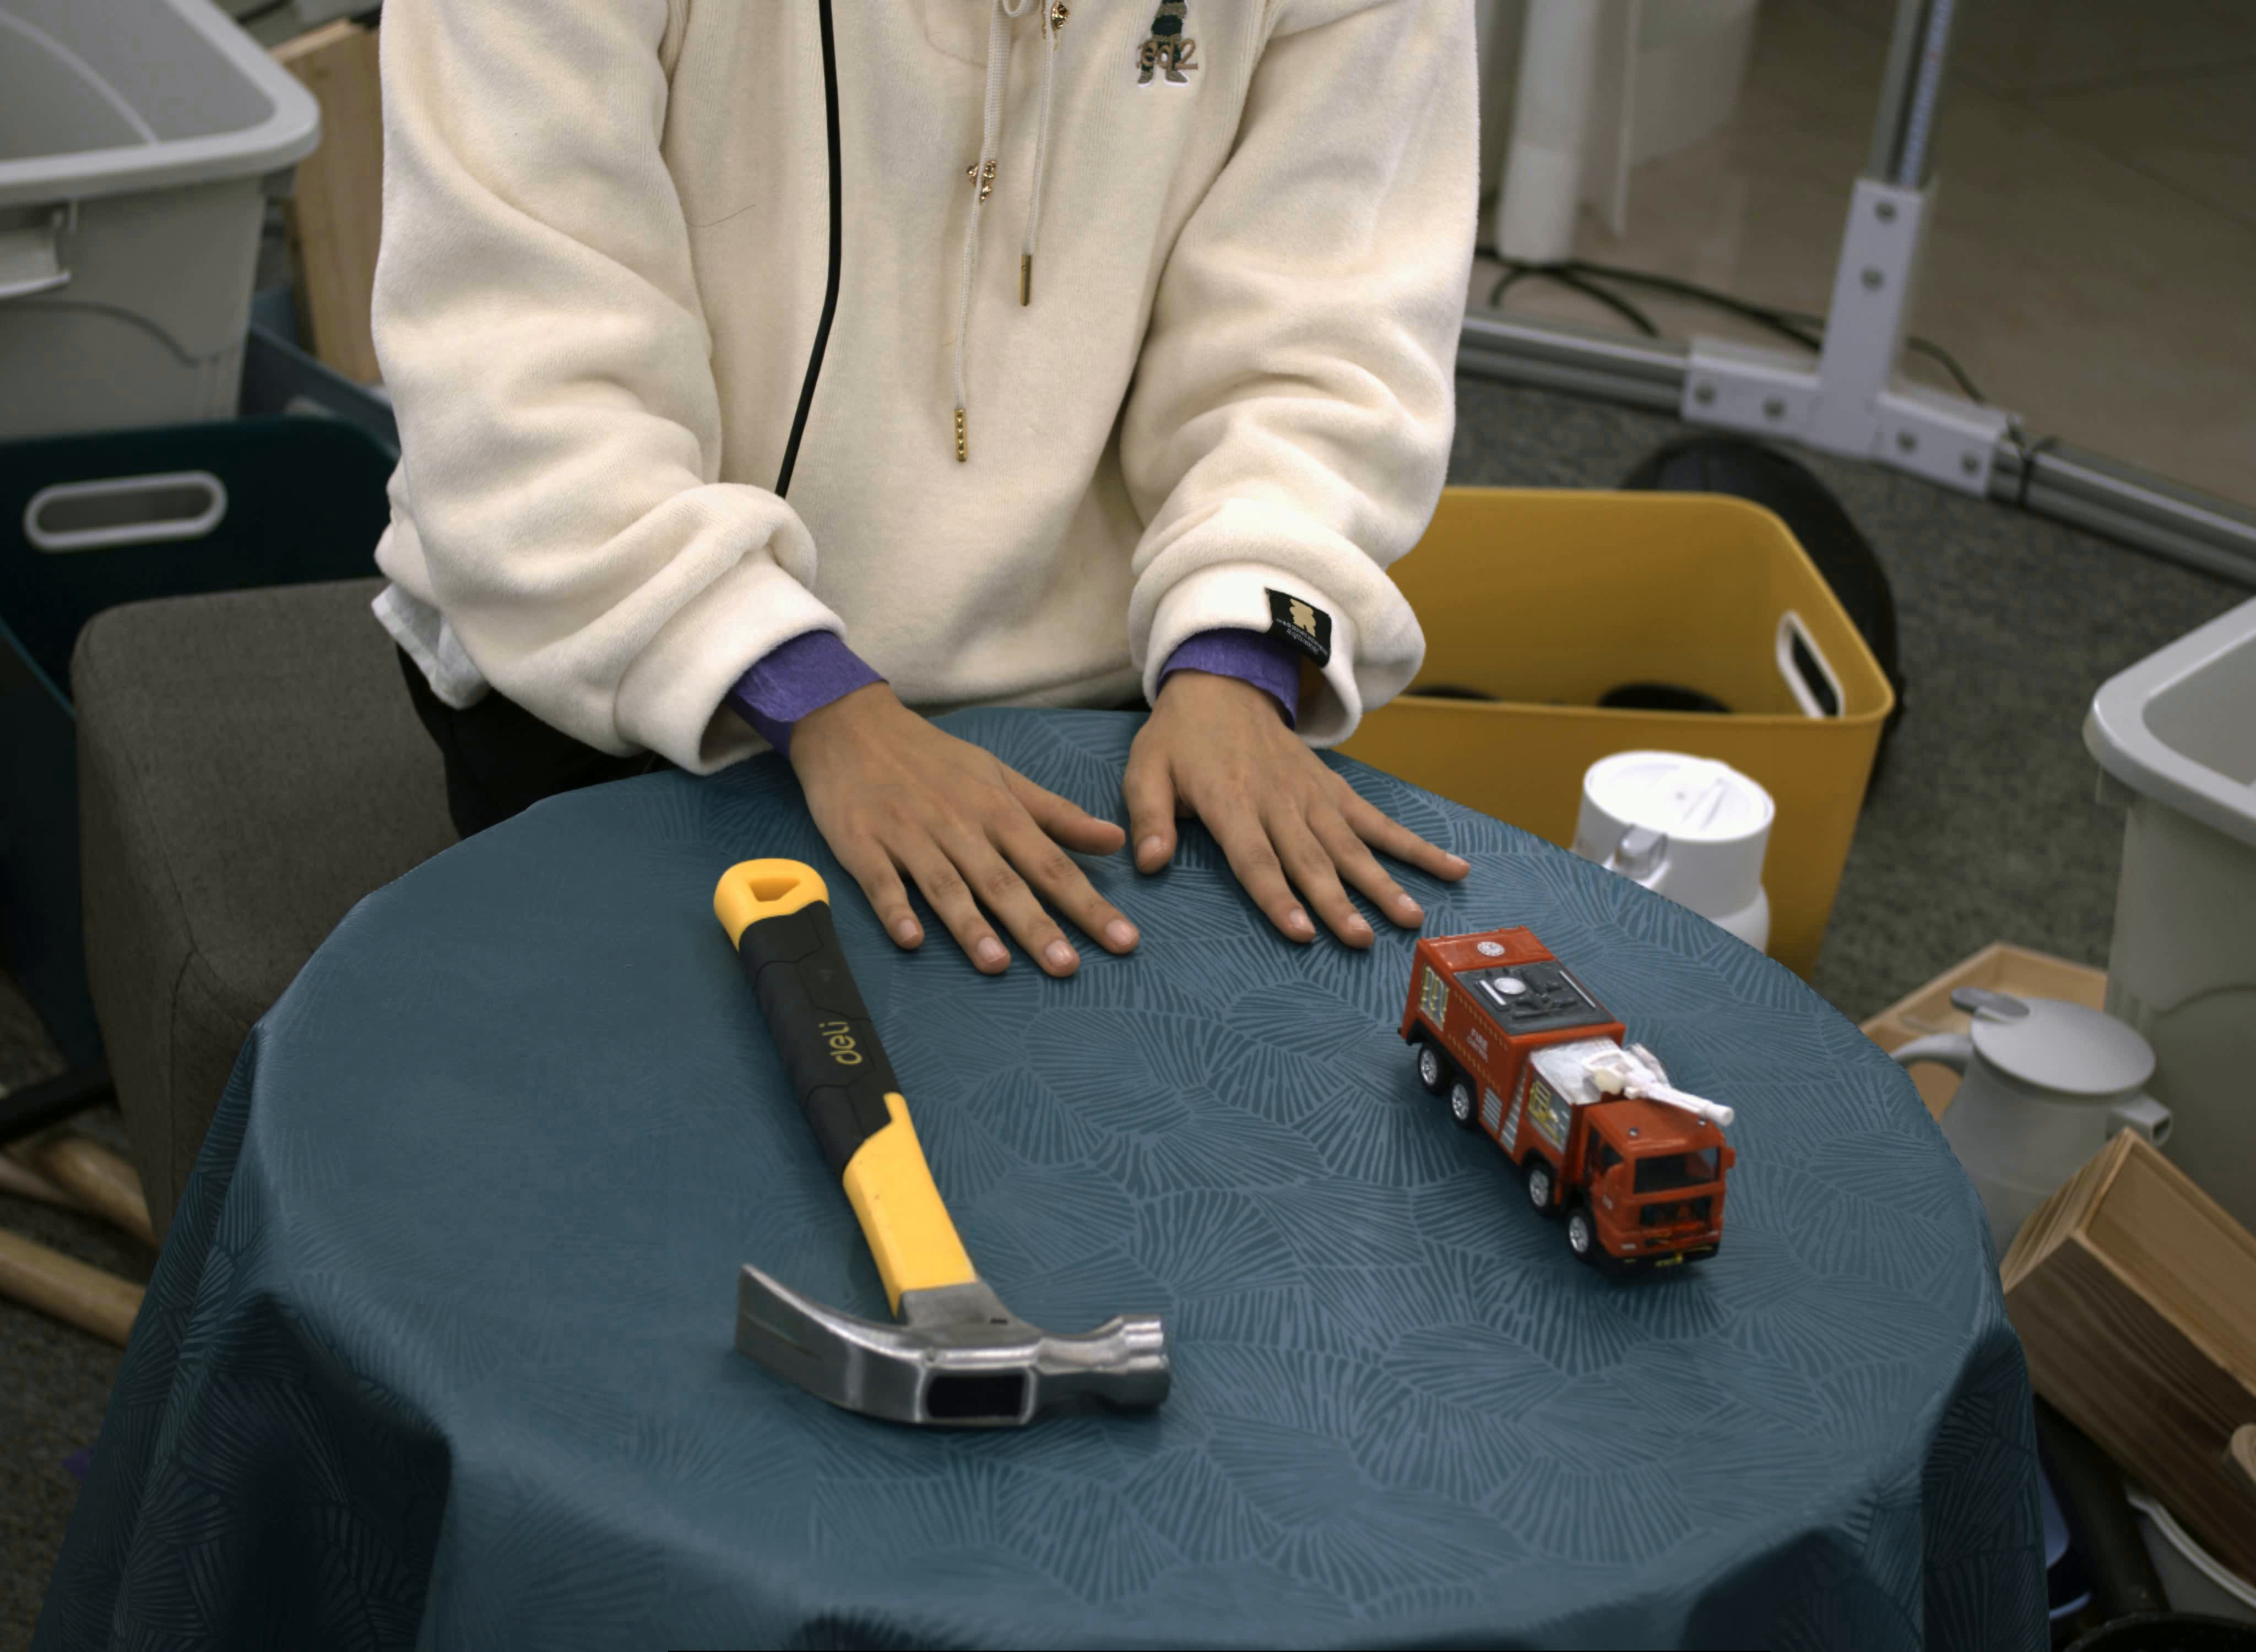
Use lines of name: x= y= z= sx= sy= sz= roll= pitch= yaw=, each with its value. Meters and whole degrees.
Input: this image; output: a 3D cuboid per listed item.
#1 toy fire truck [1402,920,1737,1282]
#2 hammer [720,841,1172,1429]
toy fire truck: x=0.151 y=0.093 z=1.831 sx=0.053 sy=0.070 sz=0.169 roll=-6 pitch=28 yaw=-24
hammer: x=-0.089 y=0.096 z=1.795 sx=0.130 sy=0.032 sz=0.341 roll=-2 pitch=29 yaw=-15
